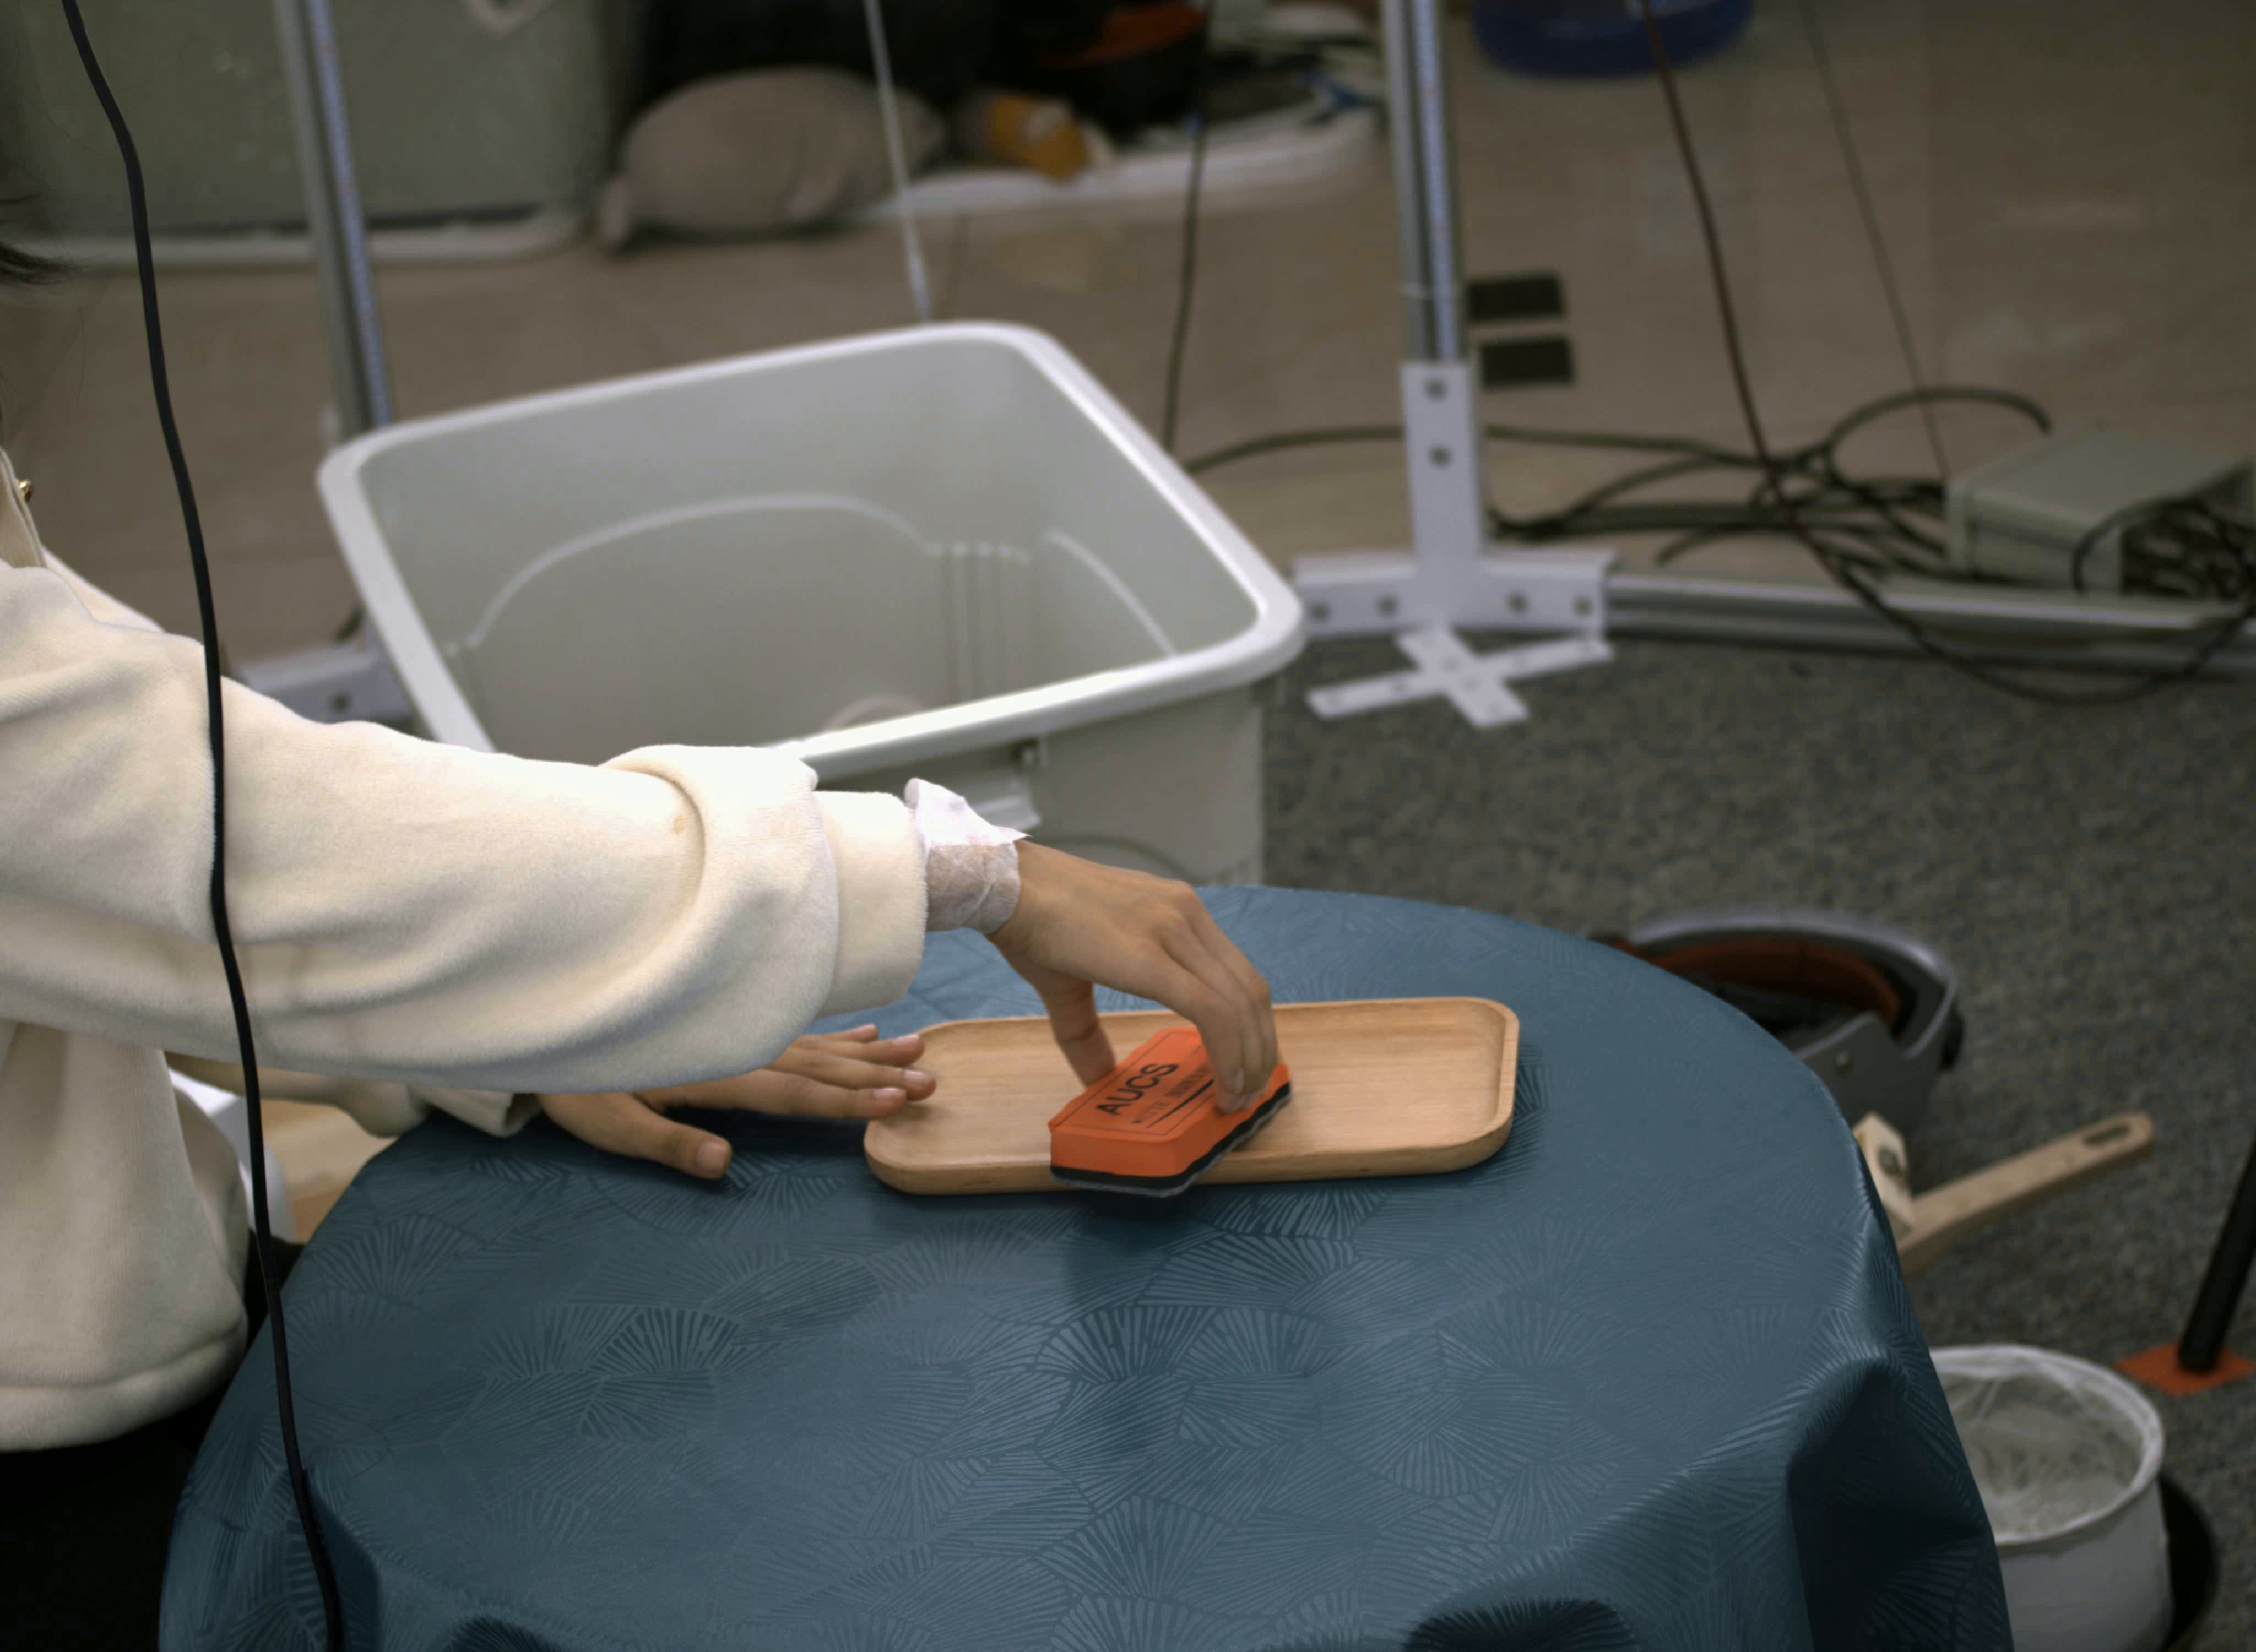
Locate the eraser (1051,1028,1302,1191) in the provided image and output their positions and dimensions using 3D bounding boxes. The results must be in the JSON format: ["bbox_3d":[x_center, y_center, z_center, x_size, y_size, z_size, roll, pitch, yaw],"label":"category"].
[{"bbox_3d":[0.019,0.107,2.155,0.059,0.023,0.107,6,22,29],"label":"eraser"}]

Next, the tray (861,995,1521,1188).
[{"bbox_3d":[0.026,0.103,2.197,0.250,0.023,0.129,-3,23,9],"label":"tray"}]
